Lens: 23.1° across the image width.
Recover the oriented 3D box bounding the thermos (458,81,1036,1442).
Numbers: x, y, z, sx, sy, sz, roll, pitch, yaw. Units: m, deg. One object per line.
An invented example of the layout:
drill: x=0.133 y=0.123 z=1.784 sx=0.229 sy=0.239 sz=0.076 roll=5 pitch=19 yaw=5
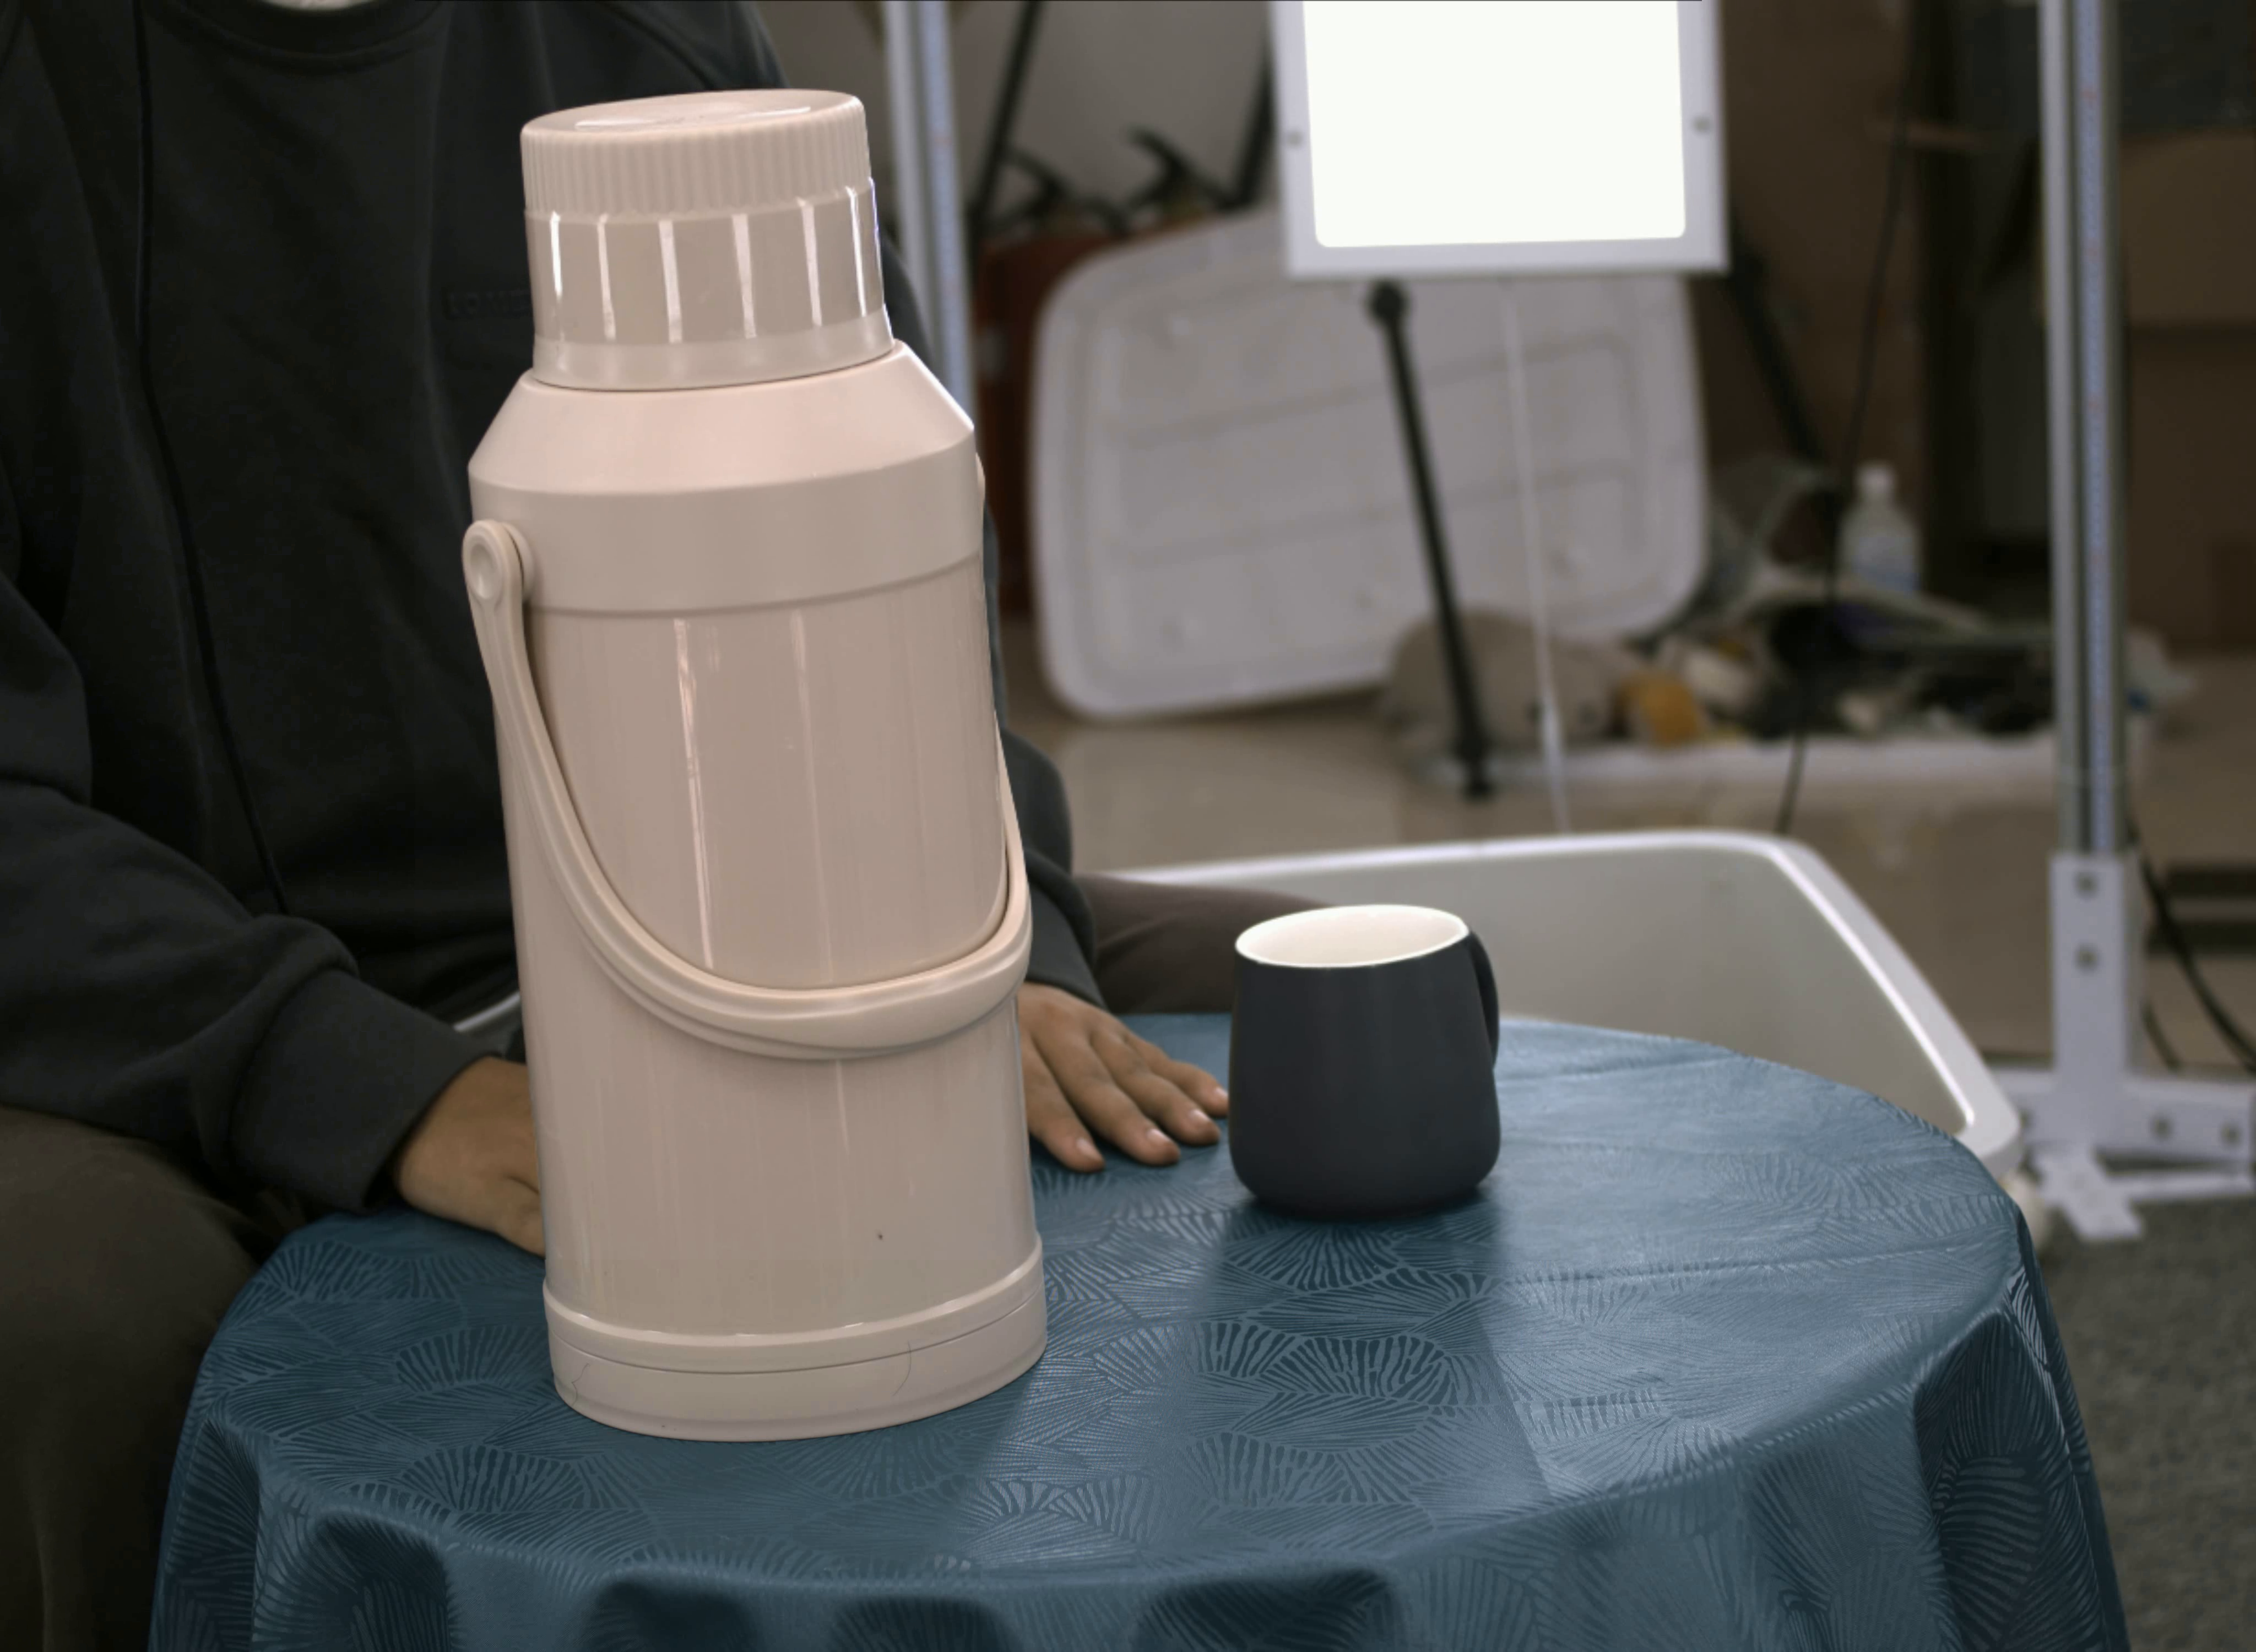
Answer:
thermos: x=-0.127 y=-0.025 z=1.722 sx=0.171 sy=0.408 sz=0.211 roll=-14 pitch=17 yaw=-34

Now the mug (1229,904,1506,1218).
mug: x=0.089 y=0.076 z=1.881 sx=0.095 sy=0.090 sz=0.120 roll=7 pitch=18 yaw=41
